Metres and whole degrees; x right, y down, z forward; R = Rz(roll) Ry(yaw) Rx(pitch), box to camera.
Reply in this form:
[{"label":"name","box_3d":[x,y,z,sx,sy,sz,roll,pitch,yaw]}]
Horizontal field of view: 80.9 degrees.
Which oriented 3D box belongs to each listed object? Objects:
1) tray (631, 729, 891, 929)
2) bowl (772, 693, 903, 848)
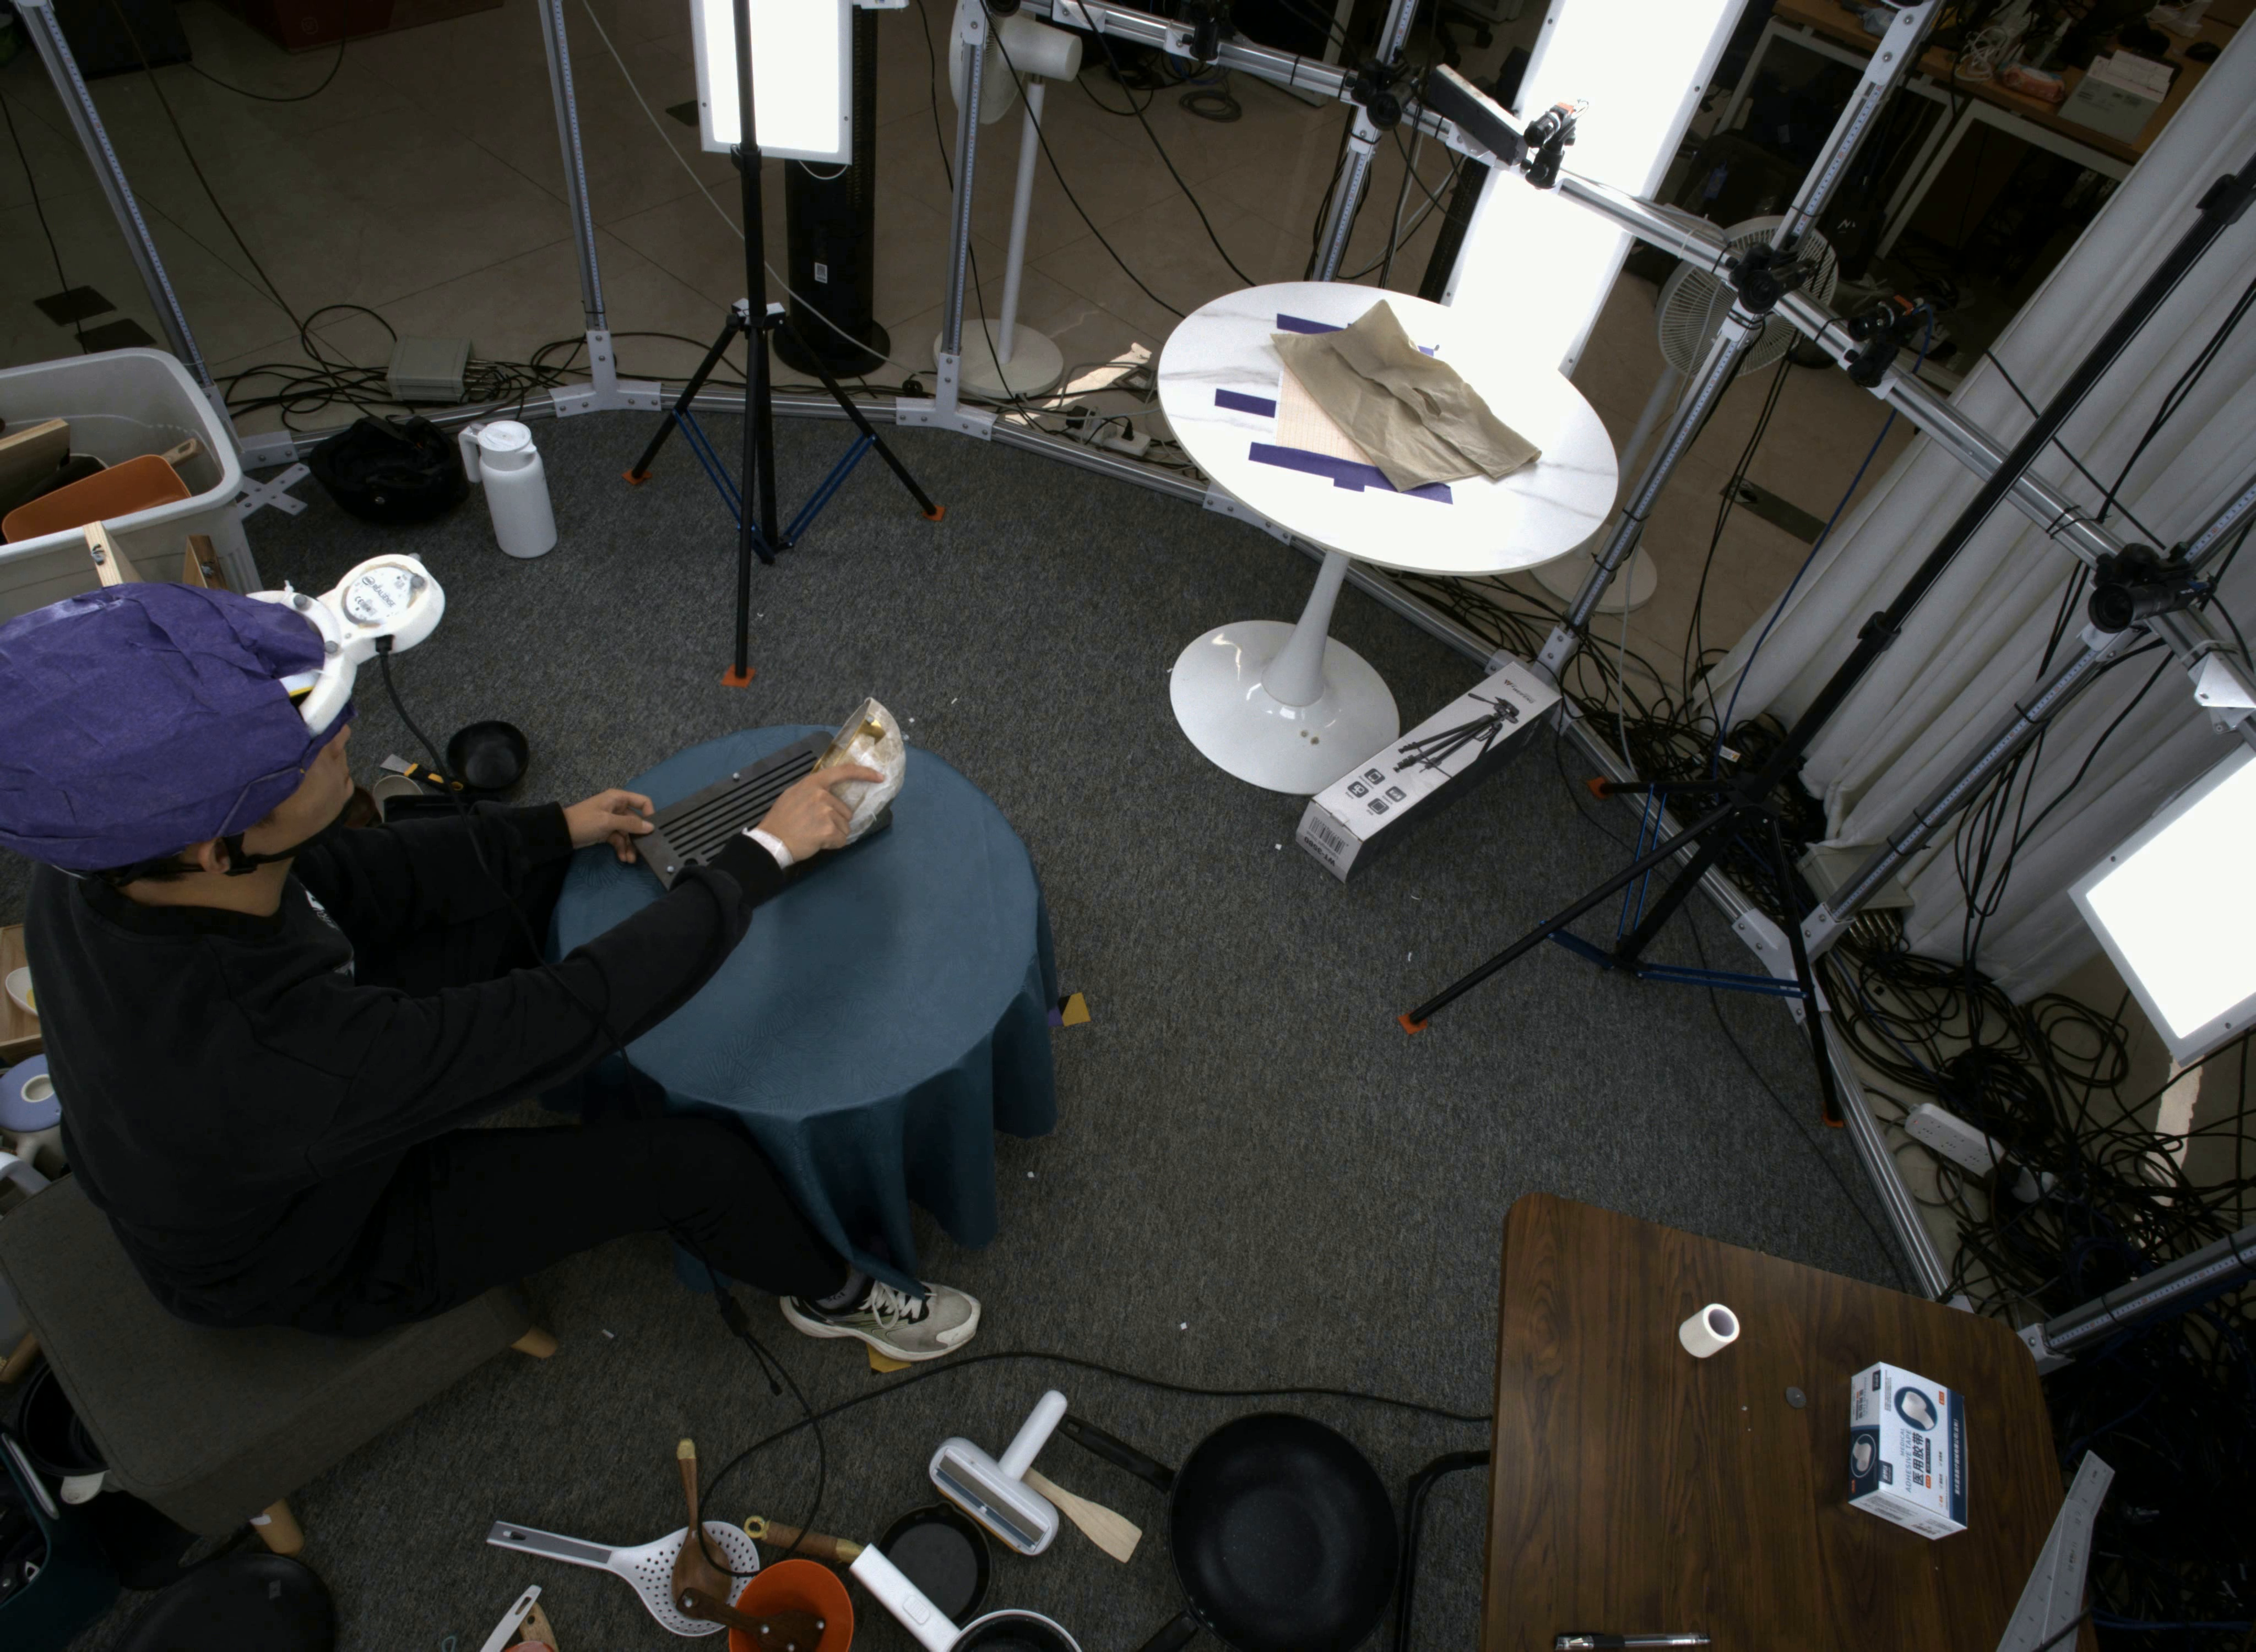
[{"label":"tray","box_3d":[-0.476,-0.002,1.689,0.307,0.019,0.168,-33,78,-32]},{"label":"bowl","box_3d":[-0.339,-0.049,1.583,0.096,0.213,0.212,34,48,-18]}]
